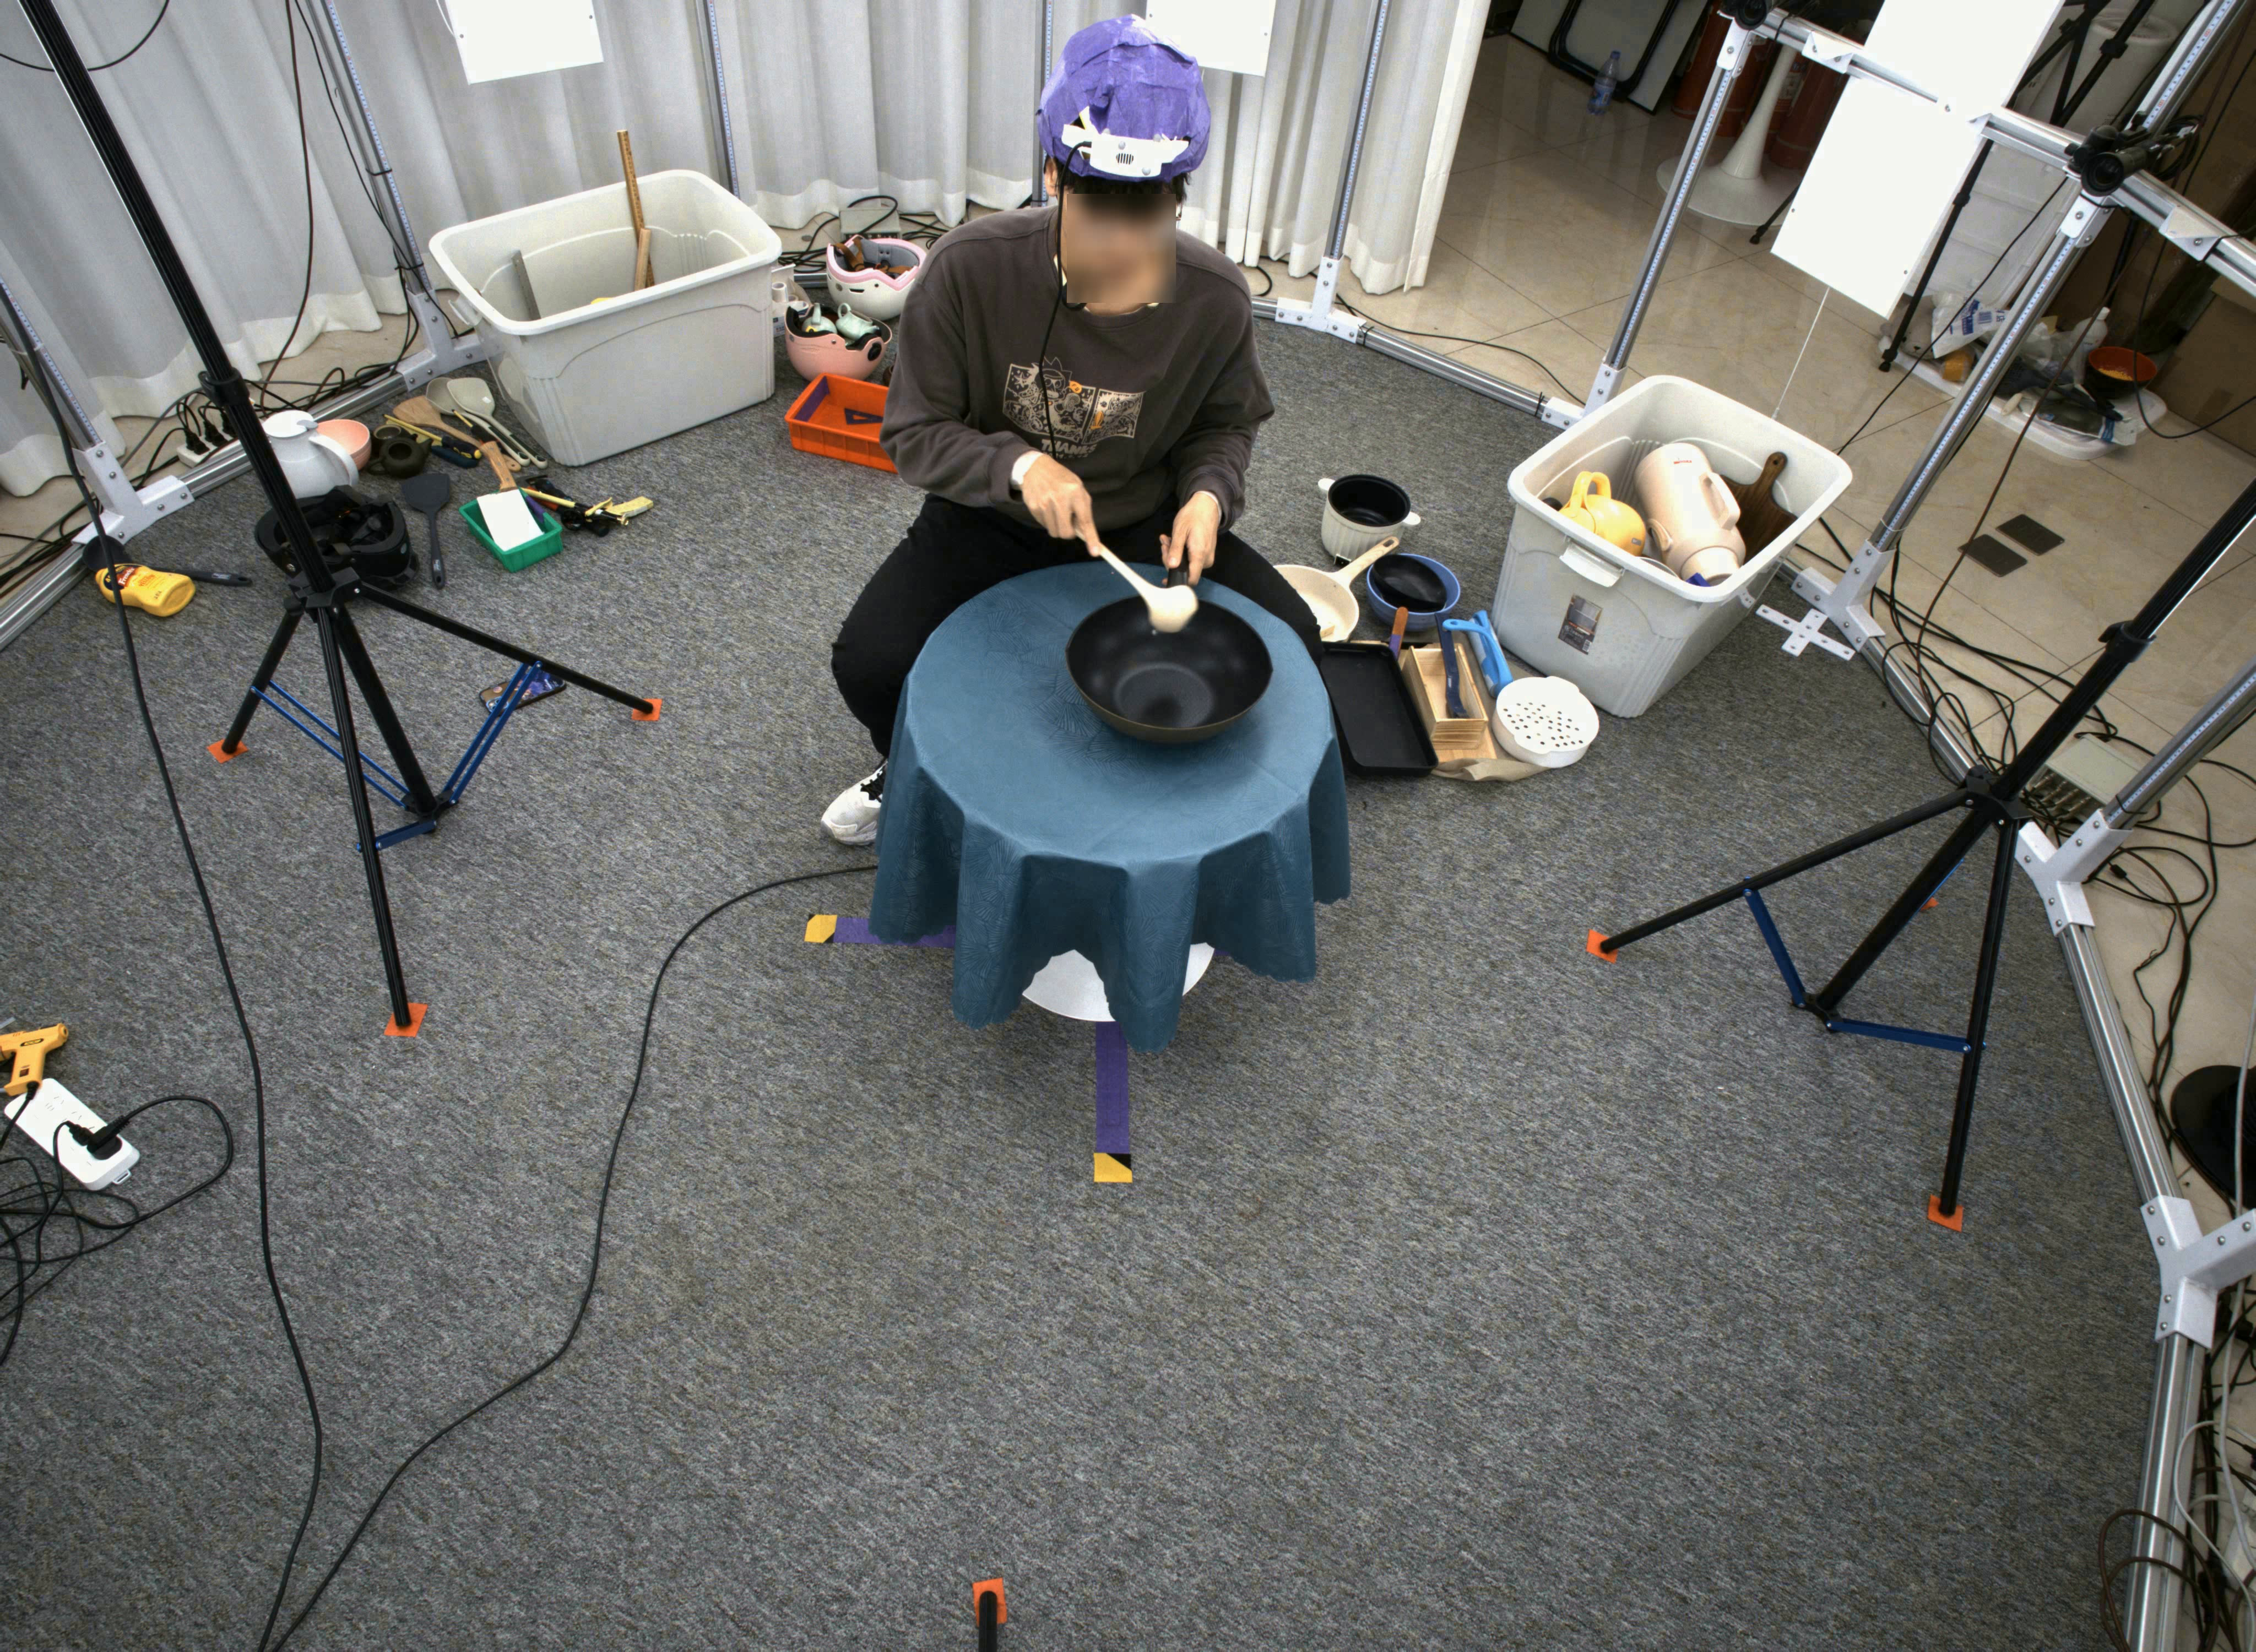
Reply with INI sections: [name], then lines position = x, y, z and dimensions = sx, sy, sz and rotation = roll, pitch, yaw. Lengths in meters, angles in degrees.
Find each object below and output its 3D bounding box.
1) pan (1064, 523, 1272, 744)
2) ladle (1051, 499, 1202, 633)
[pan]
position = 0.062, -0.274, 1.856
dimensions = 0.288, 0.085, 0.474
rotation = 6, 47, 2
[ladle]
position = -0.002, -0.369, 1.803
dimensions = 0.256, 0.071, 0.073
rotation = 43, 17, 9
